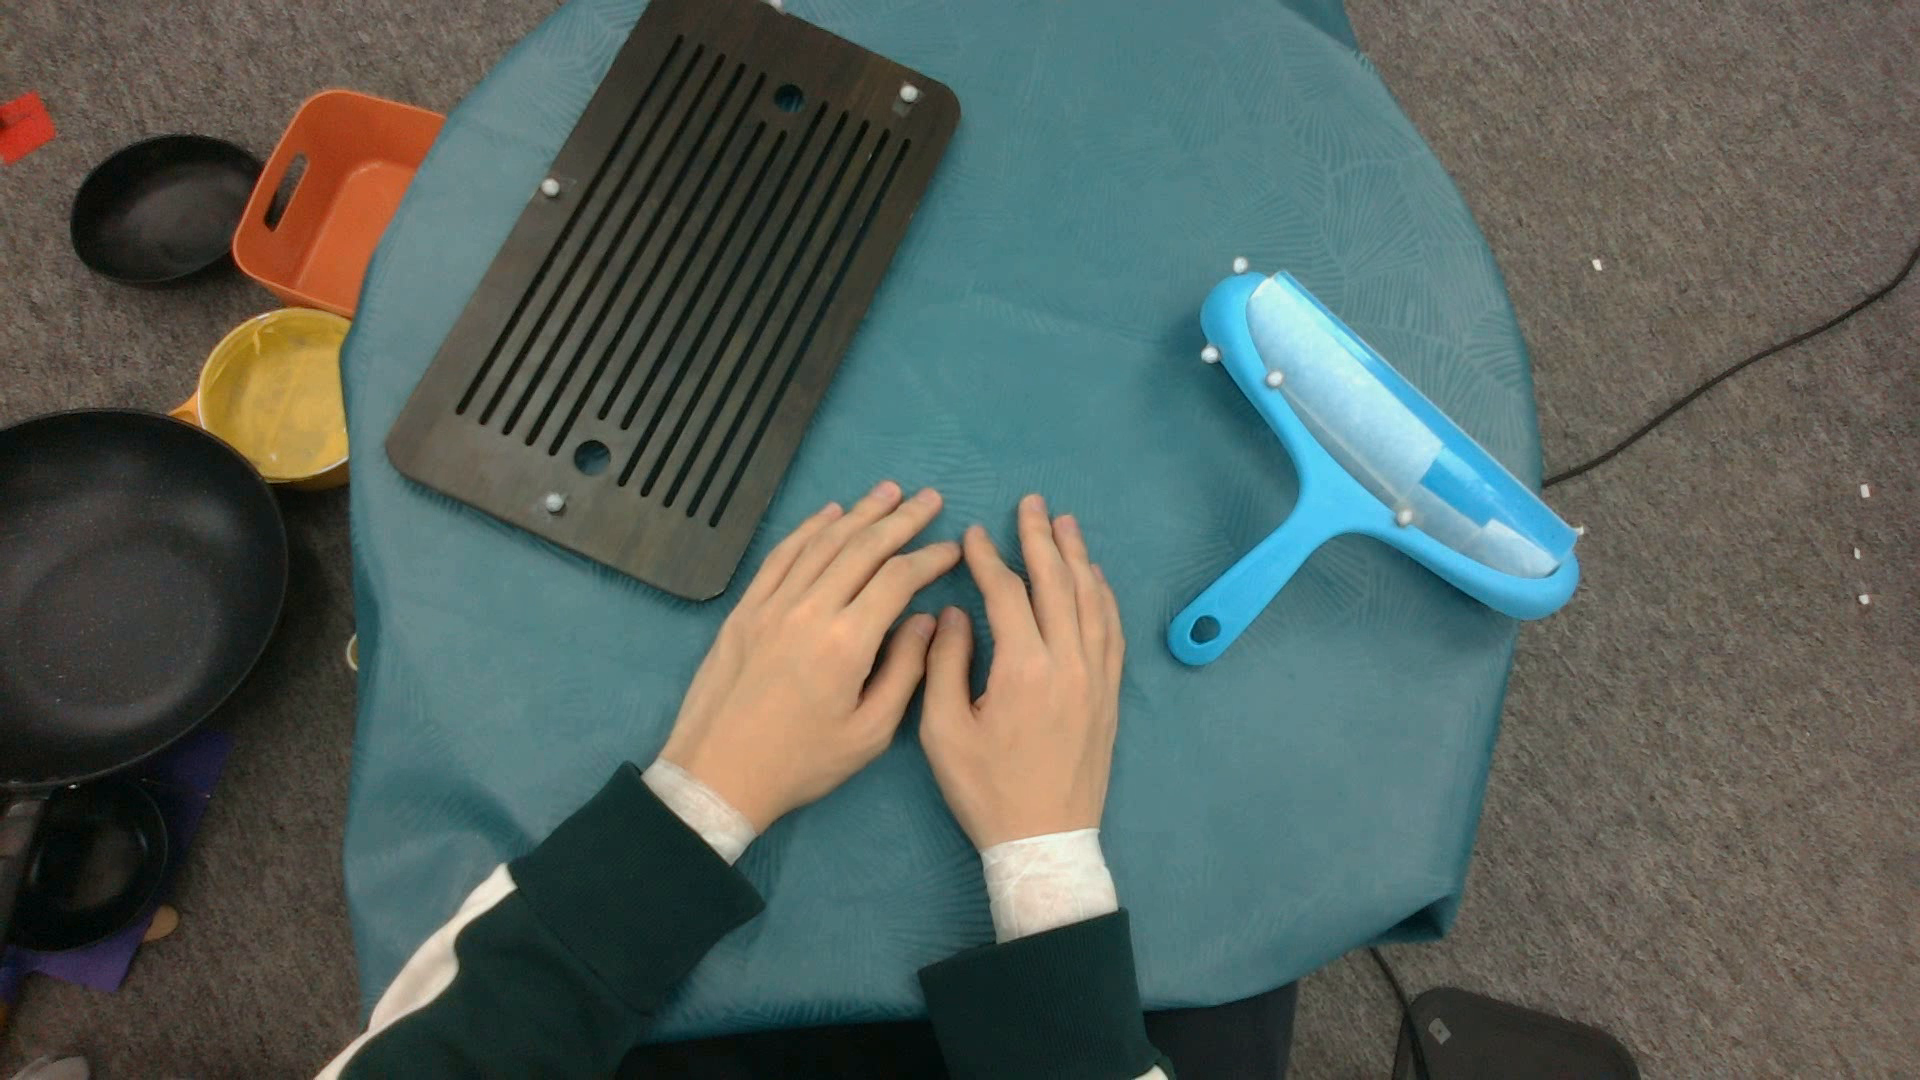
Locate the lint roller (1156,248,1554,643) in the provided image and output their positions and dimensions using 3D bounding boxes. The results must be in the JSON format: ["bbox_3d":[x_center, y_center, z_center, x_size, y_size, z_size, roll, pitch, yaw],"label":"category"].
[{"bbox_3d":[0.164,-0.022,0.668,0.229,0.067,0.181,40,71,3],"label":"lint roller"}]

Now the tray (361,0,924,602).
[{"bbox_3d":[-0.147,-0.133,0.681,0.170,0.018,0.307,22,72,-1],"label":"tray"}]
